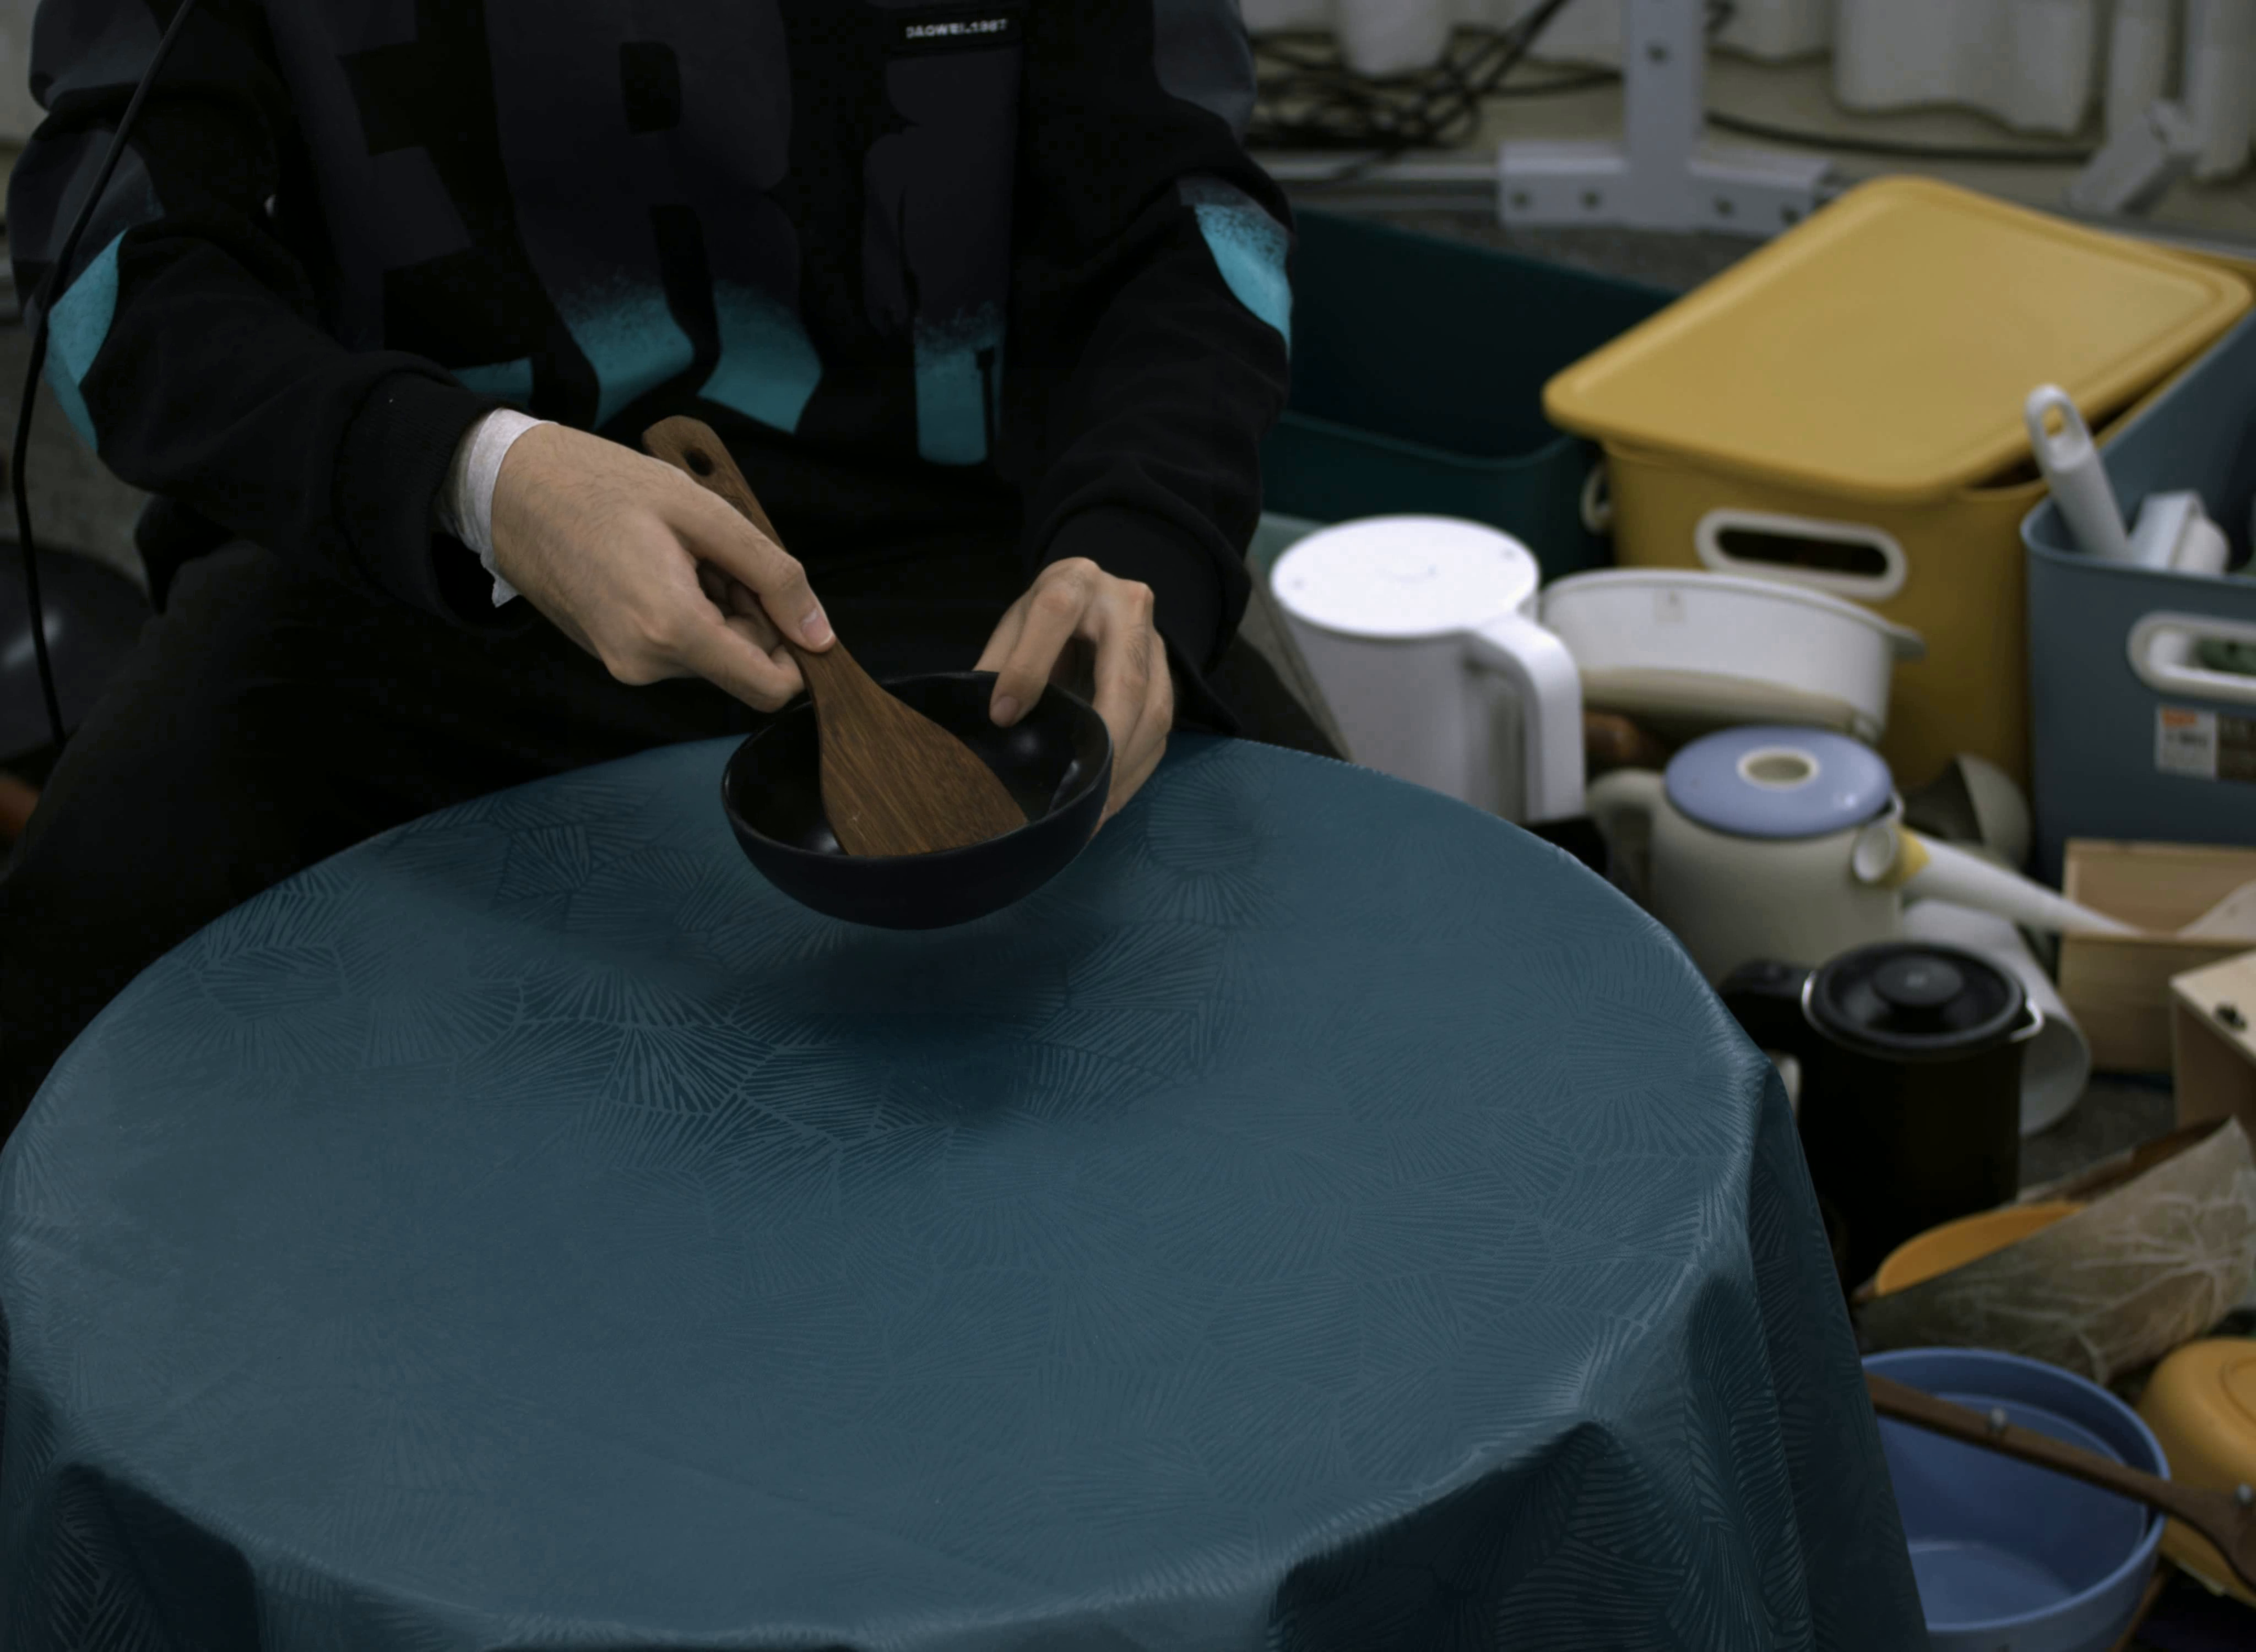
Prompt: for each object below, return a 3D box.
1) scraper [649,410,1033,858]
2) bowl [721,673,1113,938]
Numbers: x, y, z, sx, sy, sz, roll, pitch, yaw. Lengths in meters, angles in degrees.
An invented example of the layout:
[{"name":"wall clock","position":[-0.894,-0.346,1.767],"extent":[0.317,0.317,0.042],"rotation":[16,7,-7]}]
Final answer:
[{"name":"scraper","position":[-0.108,-0.060,1.984],"extent":[0.076,0.010,0.213],"rotation":[-21,70,-37]},{"name":"bowl","position":[-0.070,0.000,1.966],"extent":[0.139,0.049,0.142],"rotation":[-8,28,4]}]
